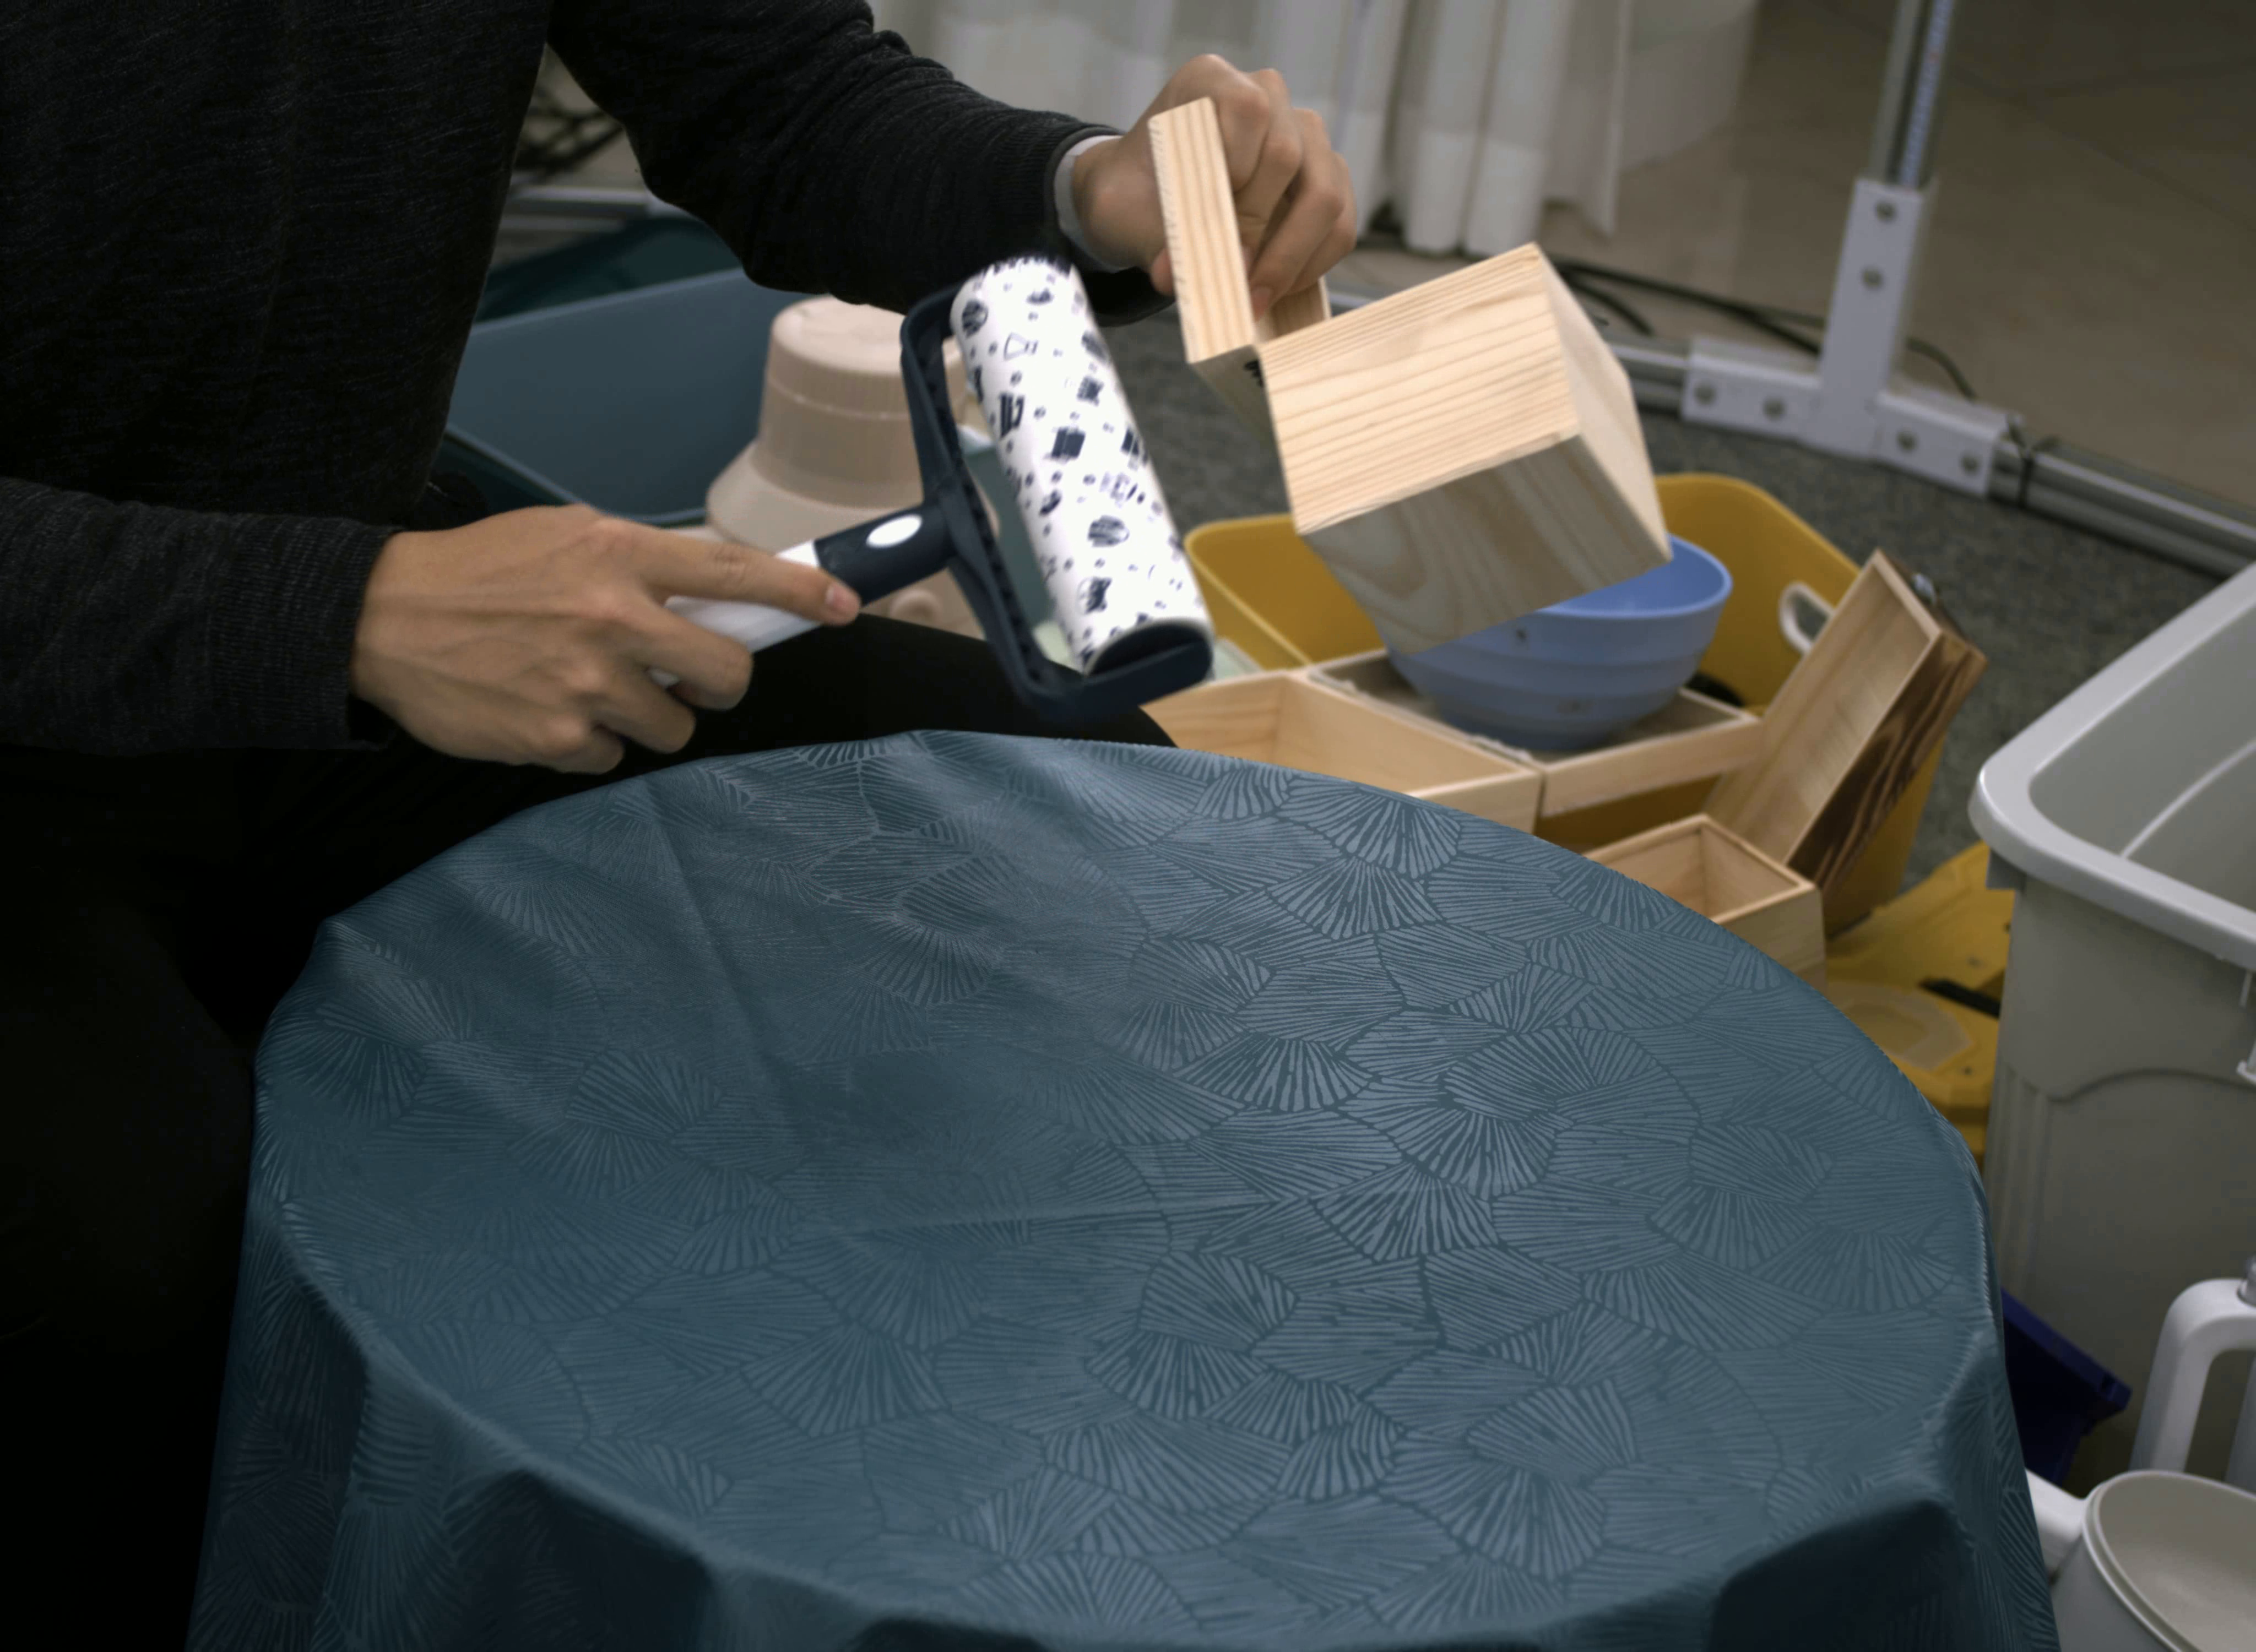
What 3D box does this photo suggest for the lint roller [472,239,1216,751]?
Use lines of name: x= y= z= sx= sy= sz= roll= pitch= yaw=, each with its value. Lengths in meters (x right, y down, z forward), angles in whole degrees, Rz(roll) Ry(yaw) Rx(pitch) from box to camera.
lint roller: x=-0.108 y=-0.084 z=1.791 sx=0.246 sy=0.050 sz=0.178 roll=-22 pitch=59 yaw=2

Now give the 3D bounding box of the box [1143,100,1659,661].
box: x=0.094 y=-0.167 z=1.826 sx=0.134 sy=0.101 sz=0.186 roll=-19 pitch=60 yaw=16
